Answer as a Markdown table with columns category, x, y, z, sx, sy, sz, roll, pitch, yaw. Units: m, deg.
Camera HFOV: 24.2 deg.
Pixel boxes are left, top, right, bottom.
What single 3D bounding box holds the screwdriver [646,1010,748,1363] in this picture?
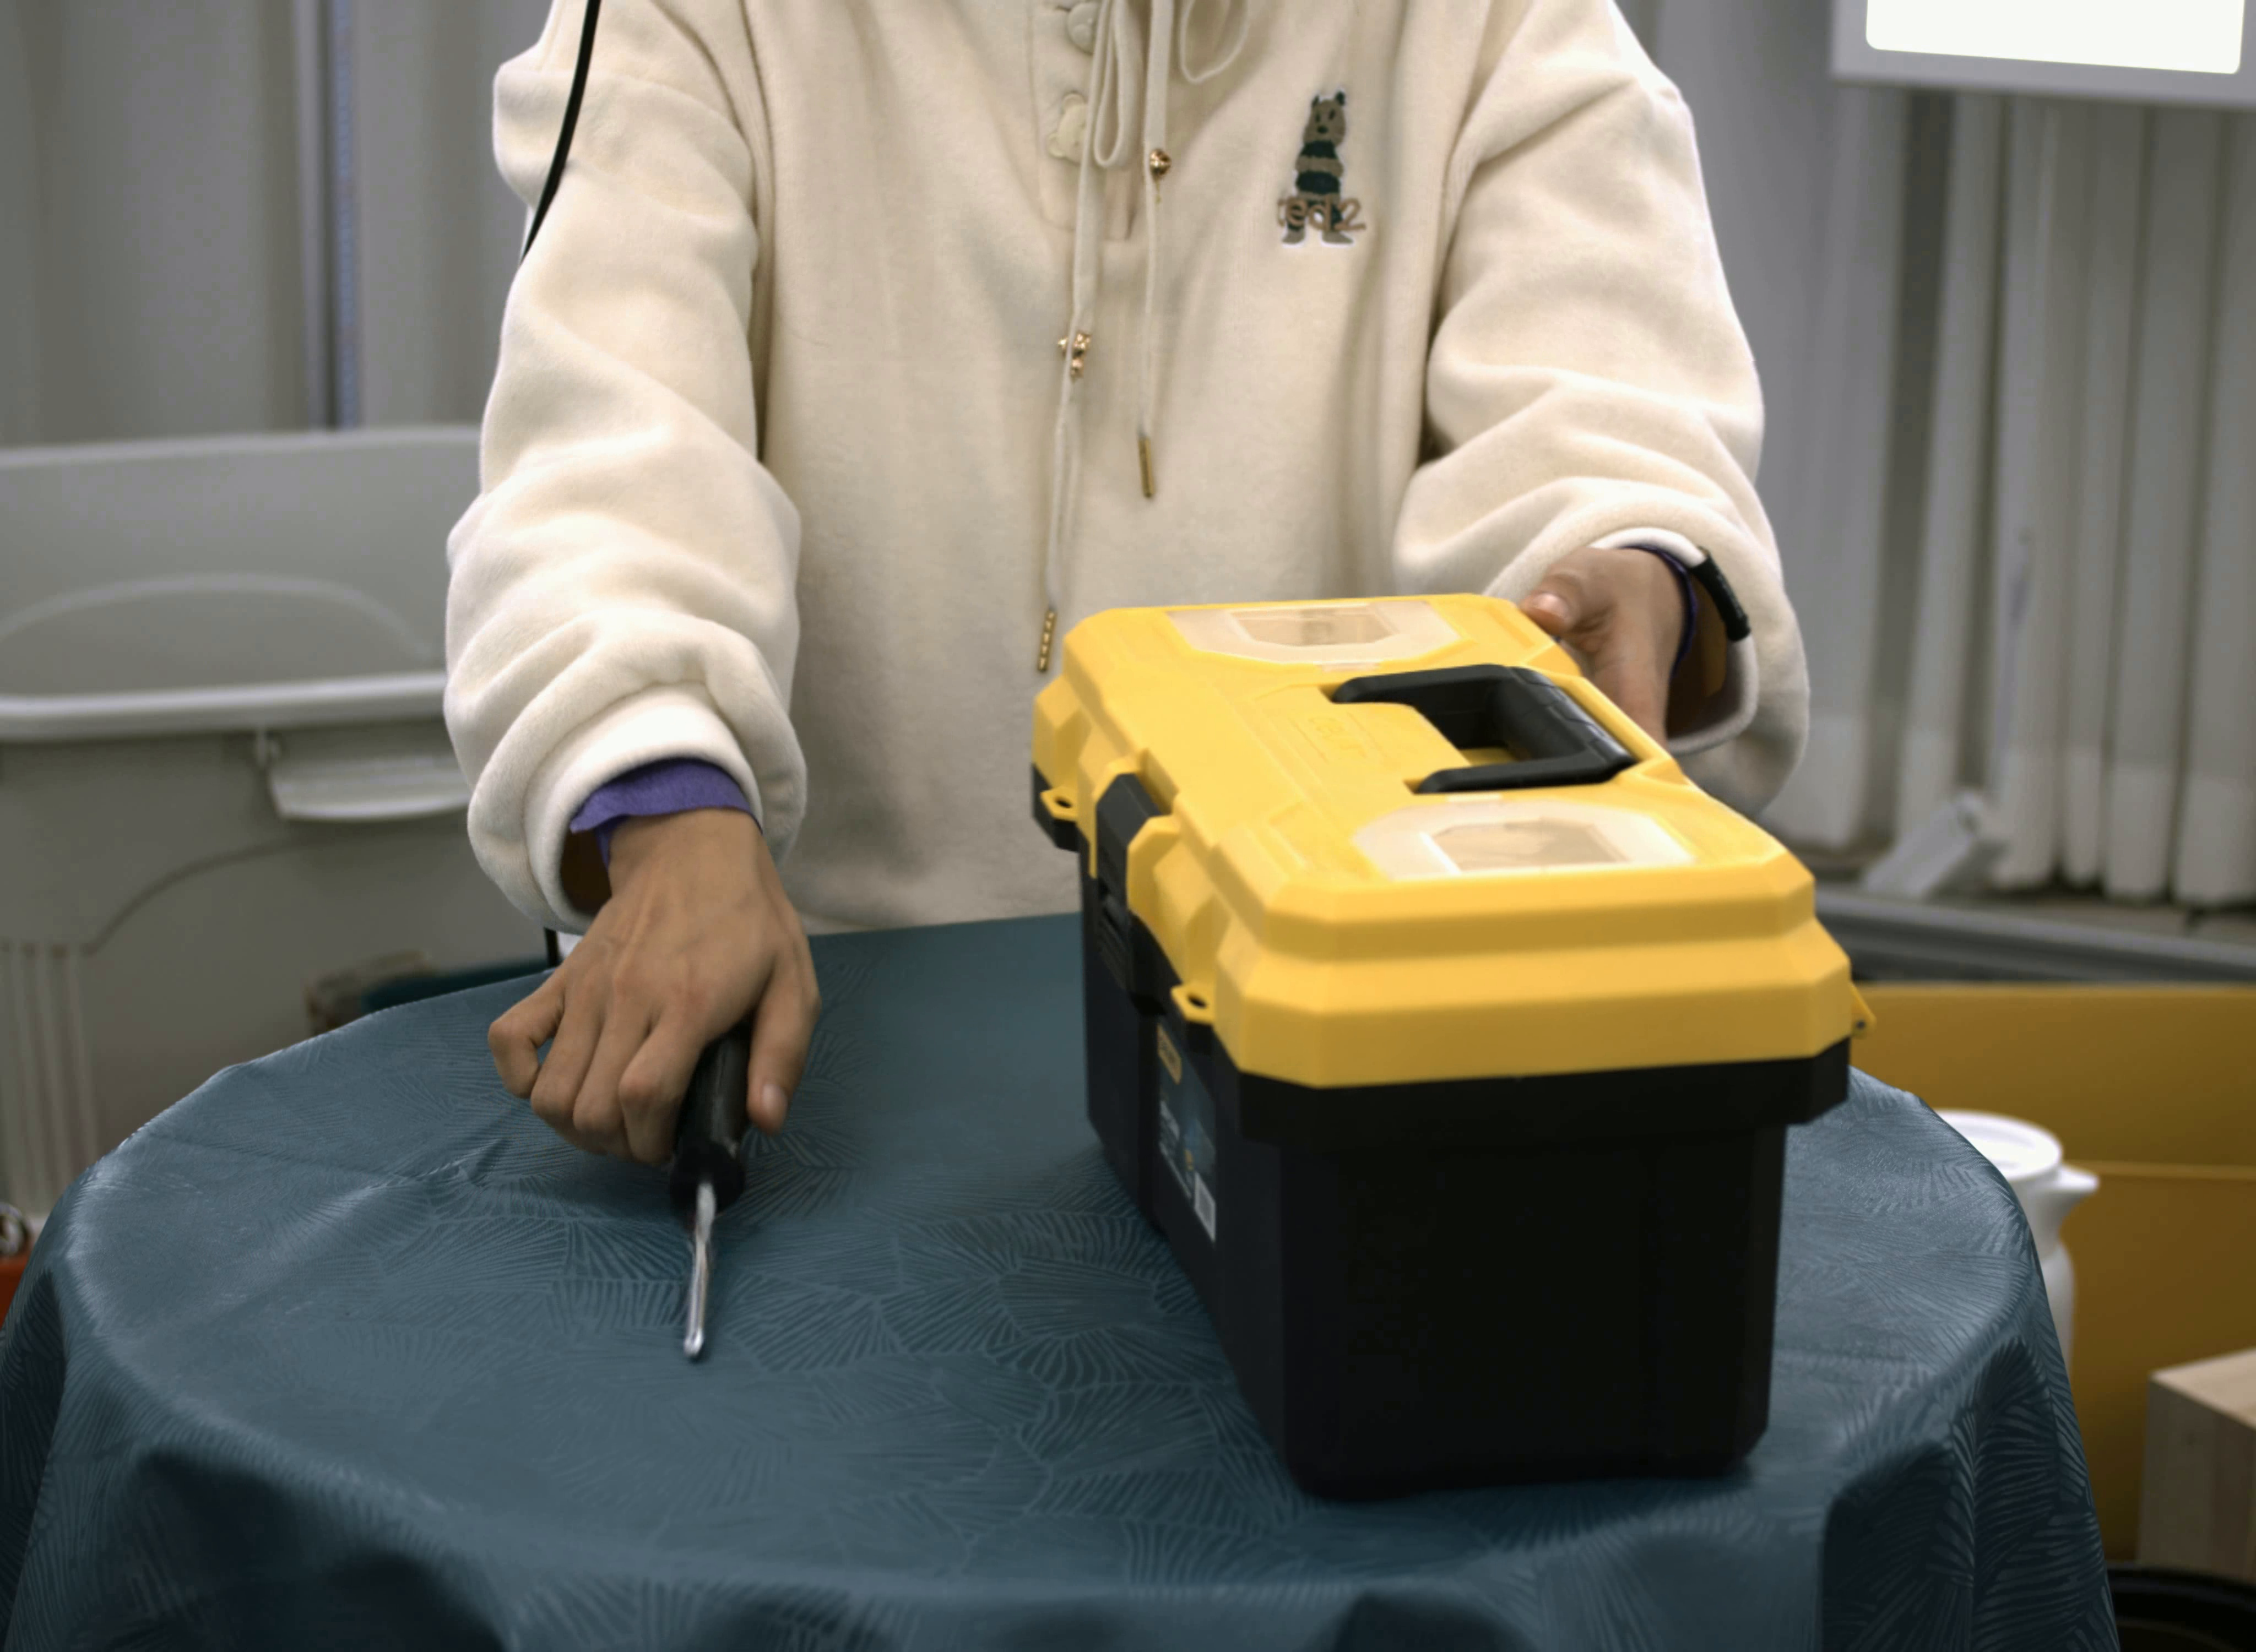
| category | x | y | z | sx | sy | sz | roll | pitch | yaw |
| --- | --- | --- | --- | --- | --- | --- | --- | --- | --- |
| screwdriver | -0.130 | 0.105 | 1.560 | 0.031 | 0.032 | 0.194 | 0 | 23 | -2 |

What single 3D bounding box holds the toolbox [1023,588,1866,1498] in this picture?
| category | x | y | z | sx | sy | sz | roll | pitch | yaw |
| --- | --- | --- | --- | --- | --- | --- | --- | --- | --- |
| toolbox | 0.081 | 0.052 | 1.514 | 0.181 | 0.174 | 0.348 | -3 | 16 | -10 |
